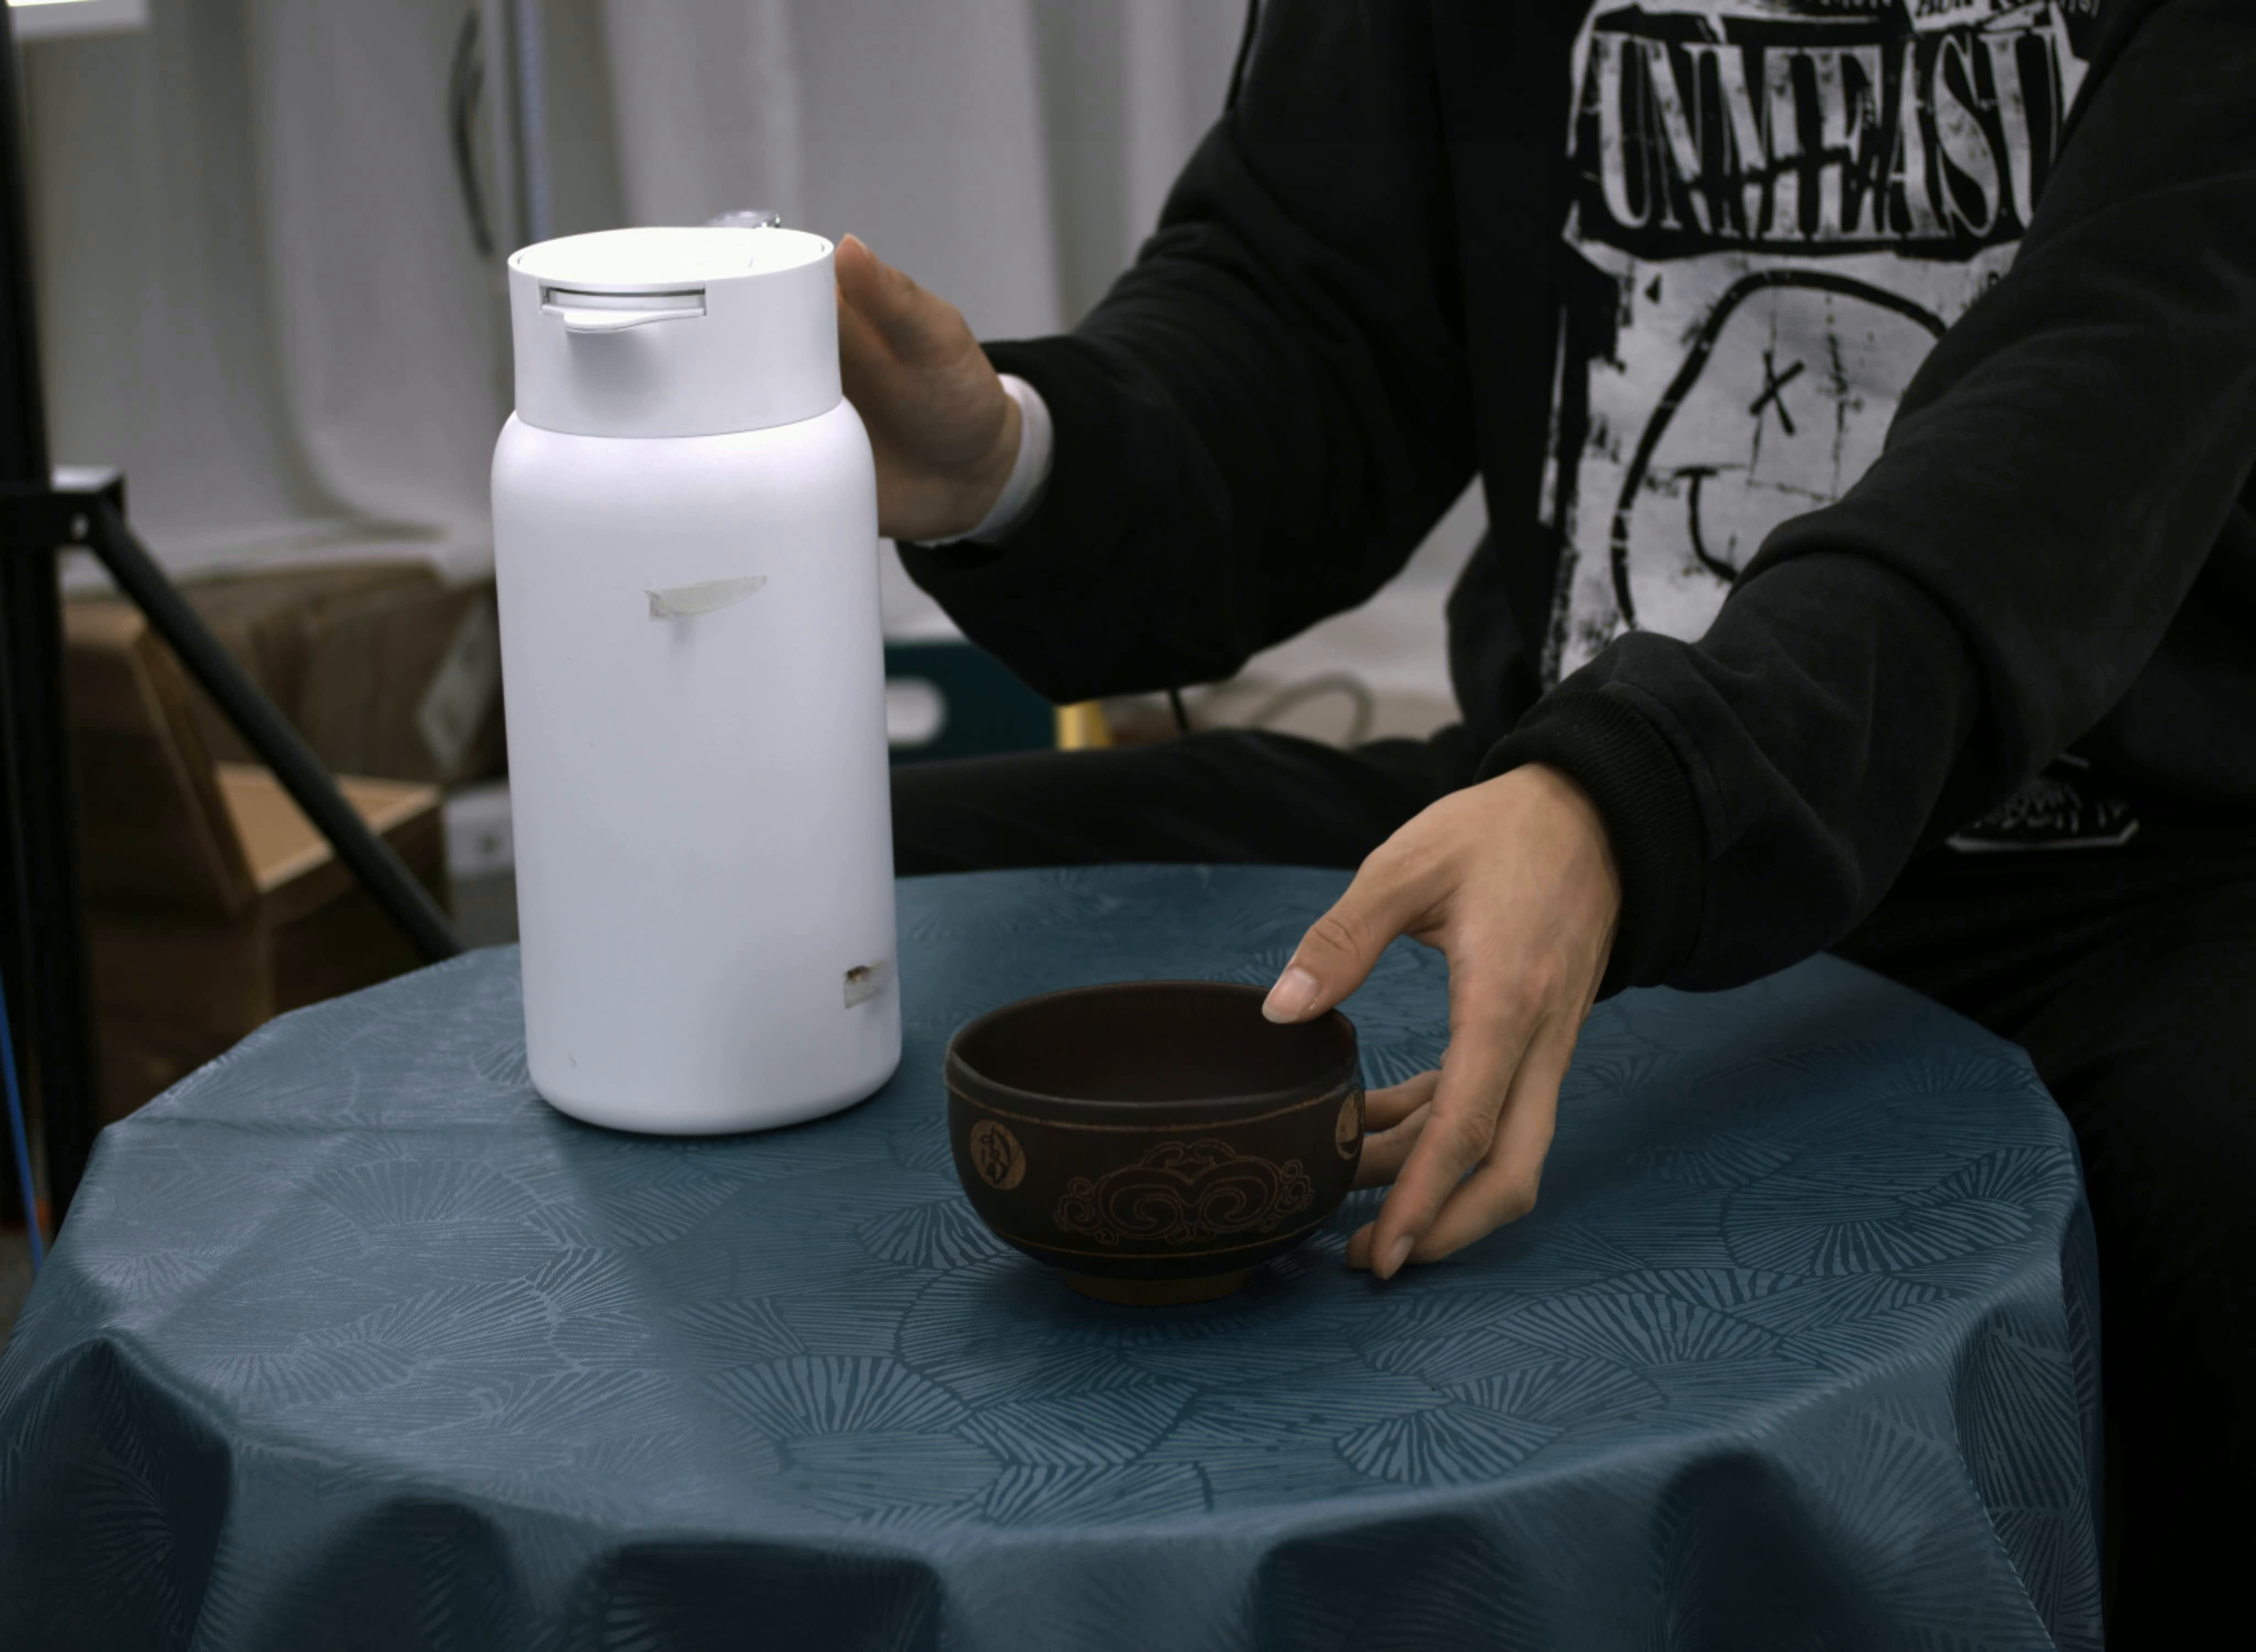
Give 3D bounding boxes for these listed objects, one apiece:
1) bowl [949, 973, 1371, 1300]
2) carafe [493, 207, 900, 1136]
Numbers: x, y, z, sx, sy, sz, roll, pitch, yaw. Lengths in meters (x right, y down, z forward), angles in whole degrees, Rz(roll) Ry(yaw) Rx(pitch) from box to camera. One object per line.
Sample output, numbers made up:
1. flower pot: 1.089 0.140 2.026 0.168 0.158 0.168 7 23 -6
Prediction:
1. bowl: 0.010 0.090 1.480 0.117 0.070 0.118 -3 15 -1
2. carafe: -0.129 -0.052 1.653 0.125 0.269 0.171 1 15 17
